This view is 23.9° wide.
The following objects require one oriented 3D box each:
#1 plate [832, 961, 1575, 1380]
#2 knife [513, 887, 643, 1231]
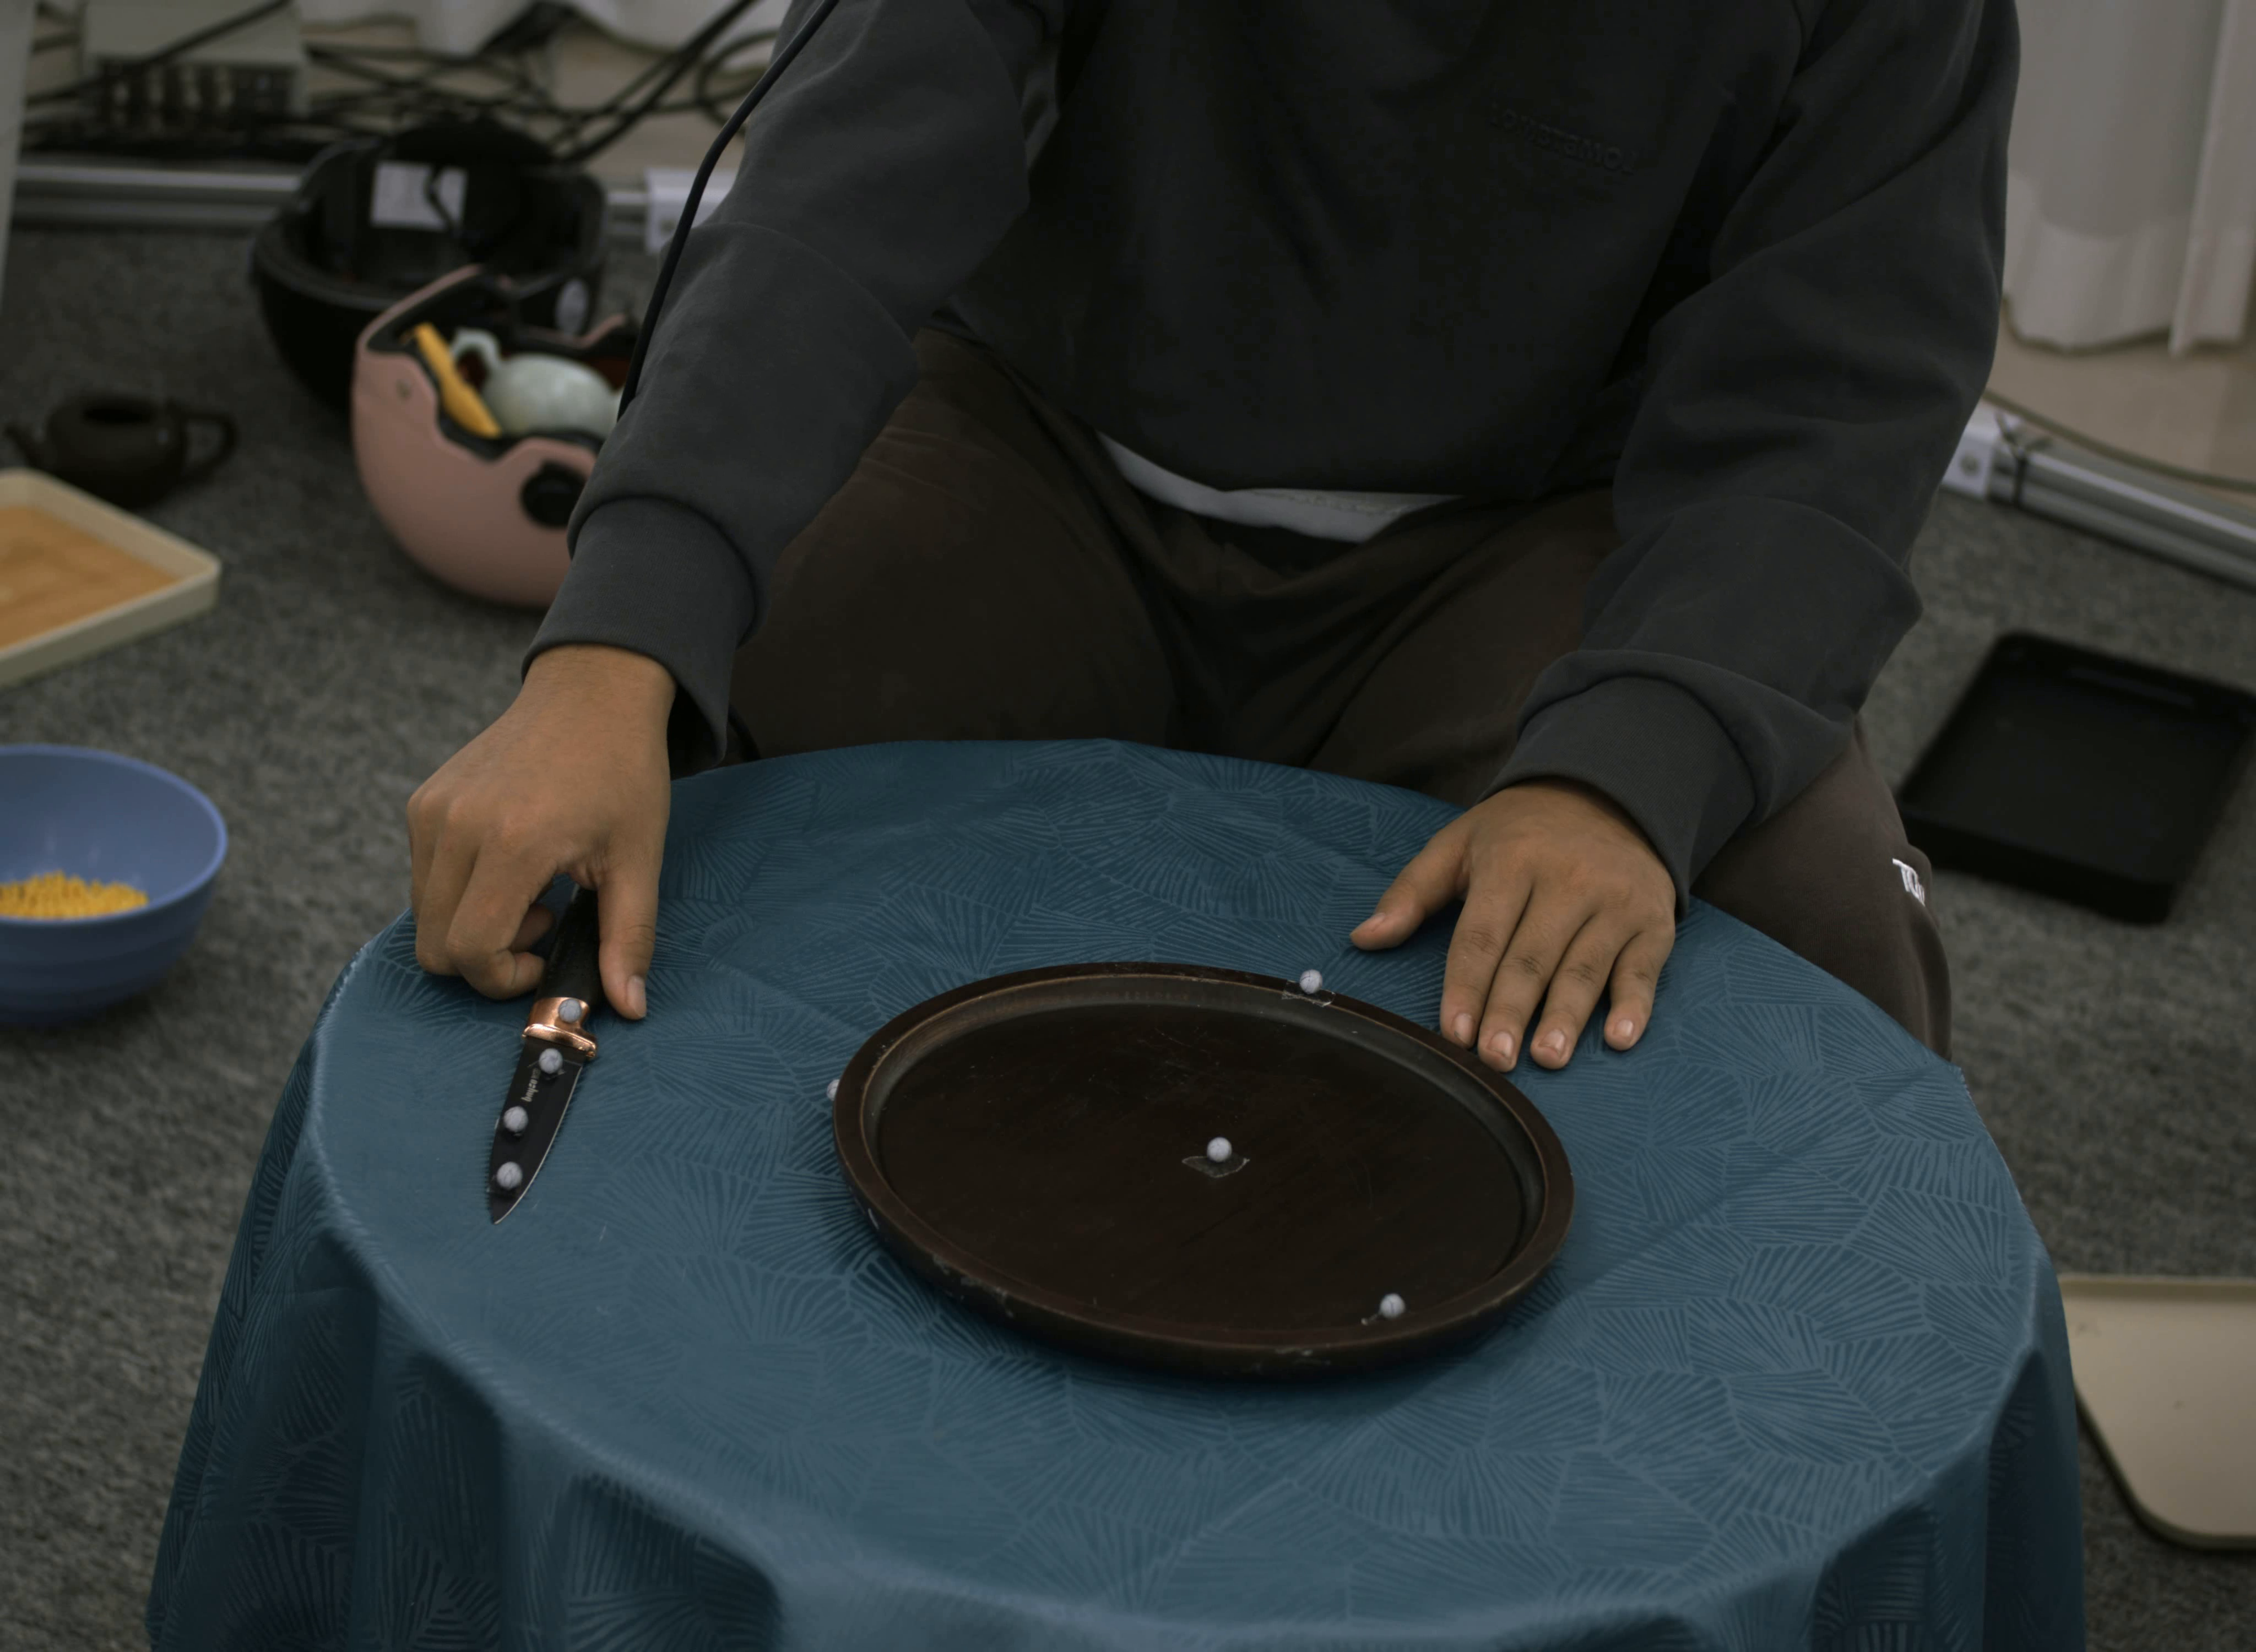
[{"bbox_3d":[0.025,0.115,1.804,0.254,0.029,0.256,5,26,-3],"label":"plate"},{"bbox_3d":[-0.193,0.078,1.839,0.026,0.017,0.226,14,27,-3],"label":"knife"}]
